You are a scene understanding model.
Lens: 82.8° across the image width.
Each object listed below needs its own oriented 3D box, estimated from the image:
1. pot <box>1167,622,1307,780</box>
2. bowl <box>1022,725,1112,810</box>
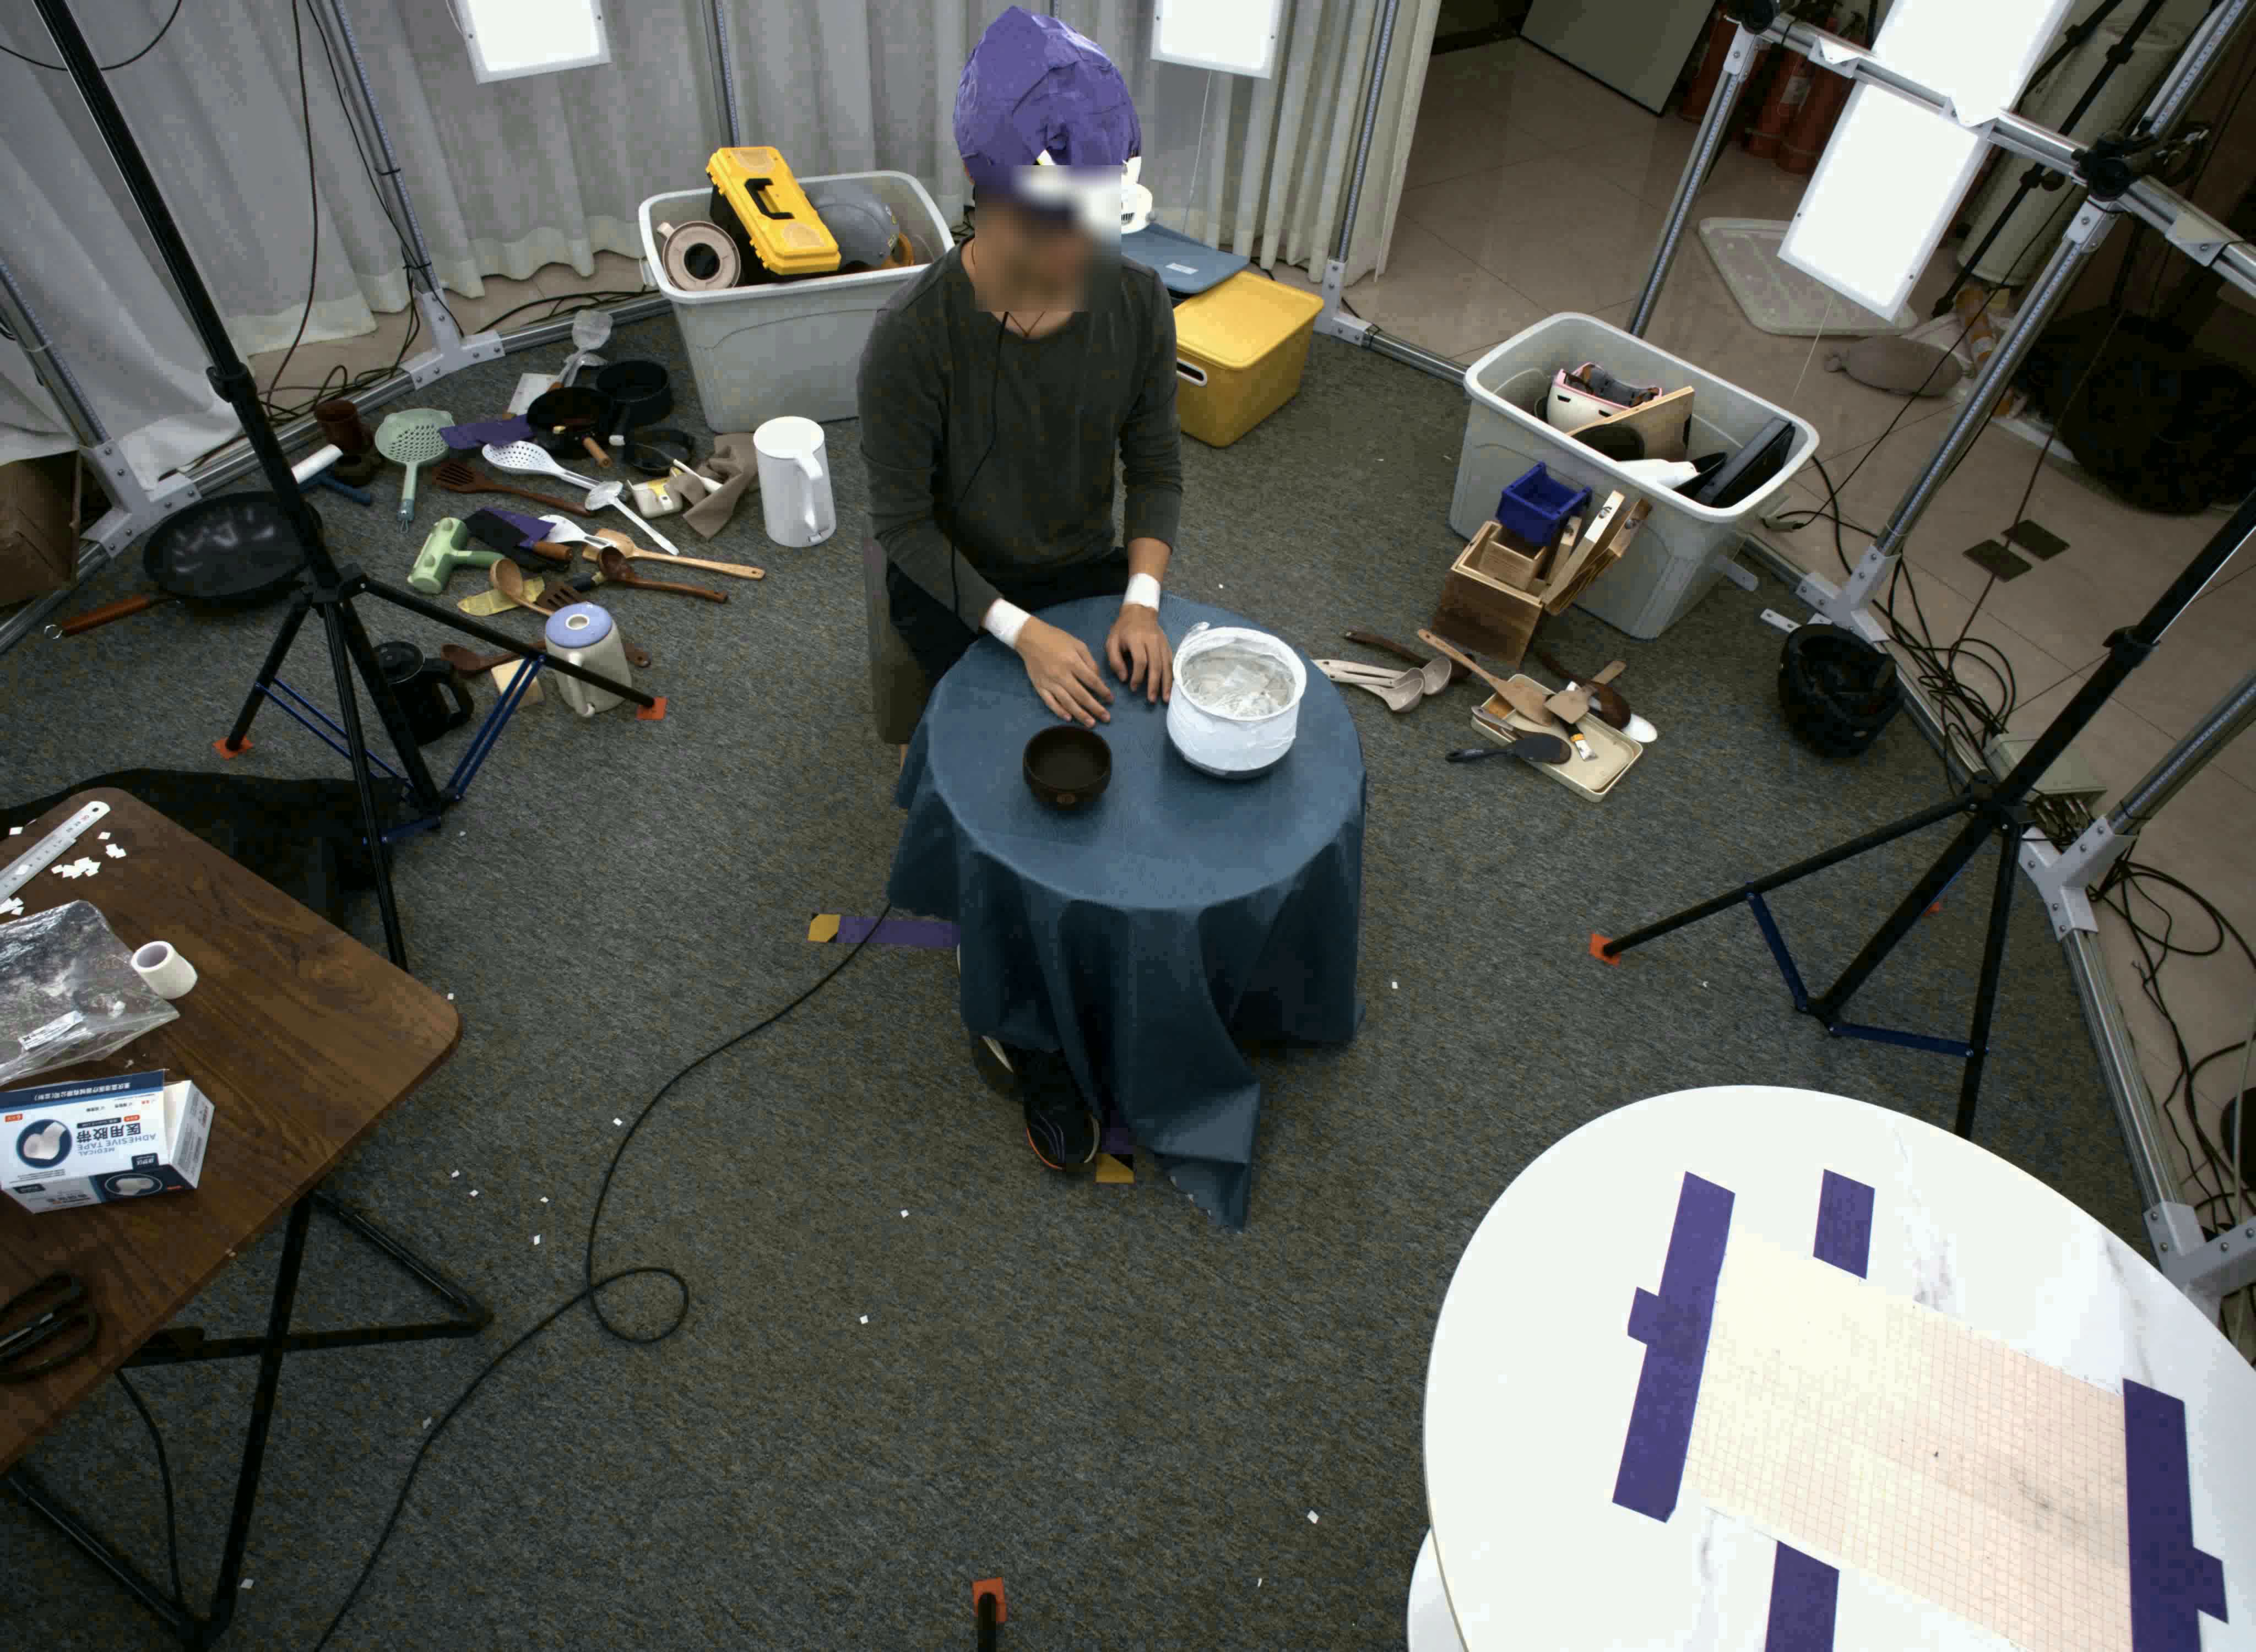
[{"bbox_3d":[0.130,-0.180,1.745,0.179,0.133,0.239,-19,53,-20],"label":"pot"},{"bbox_3d":[-0.080,-0.068,1.675,0.118,0.068,0.121,1,47,-2],"label":"bowl"}]
